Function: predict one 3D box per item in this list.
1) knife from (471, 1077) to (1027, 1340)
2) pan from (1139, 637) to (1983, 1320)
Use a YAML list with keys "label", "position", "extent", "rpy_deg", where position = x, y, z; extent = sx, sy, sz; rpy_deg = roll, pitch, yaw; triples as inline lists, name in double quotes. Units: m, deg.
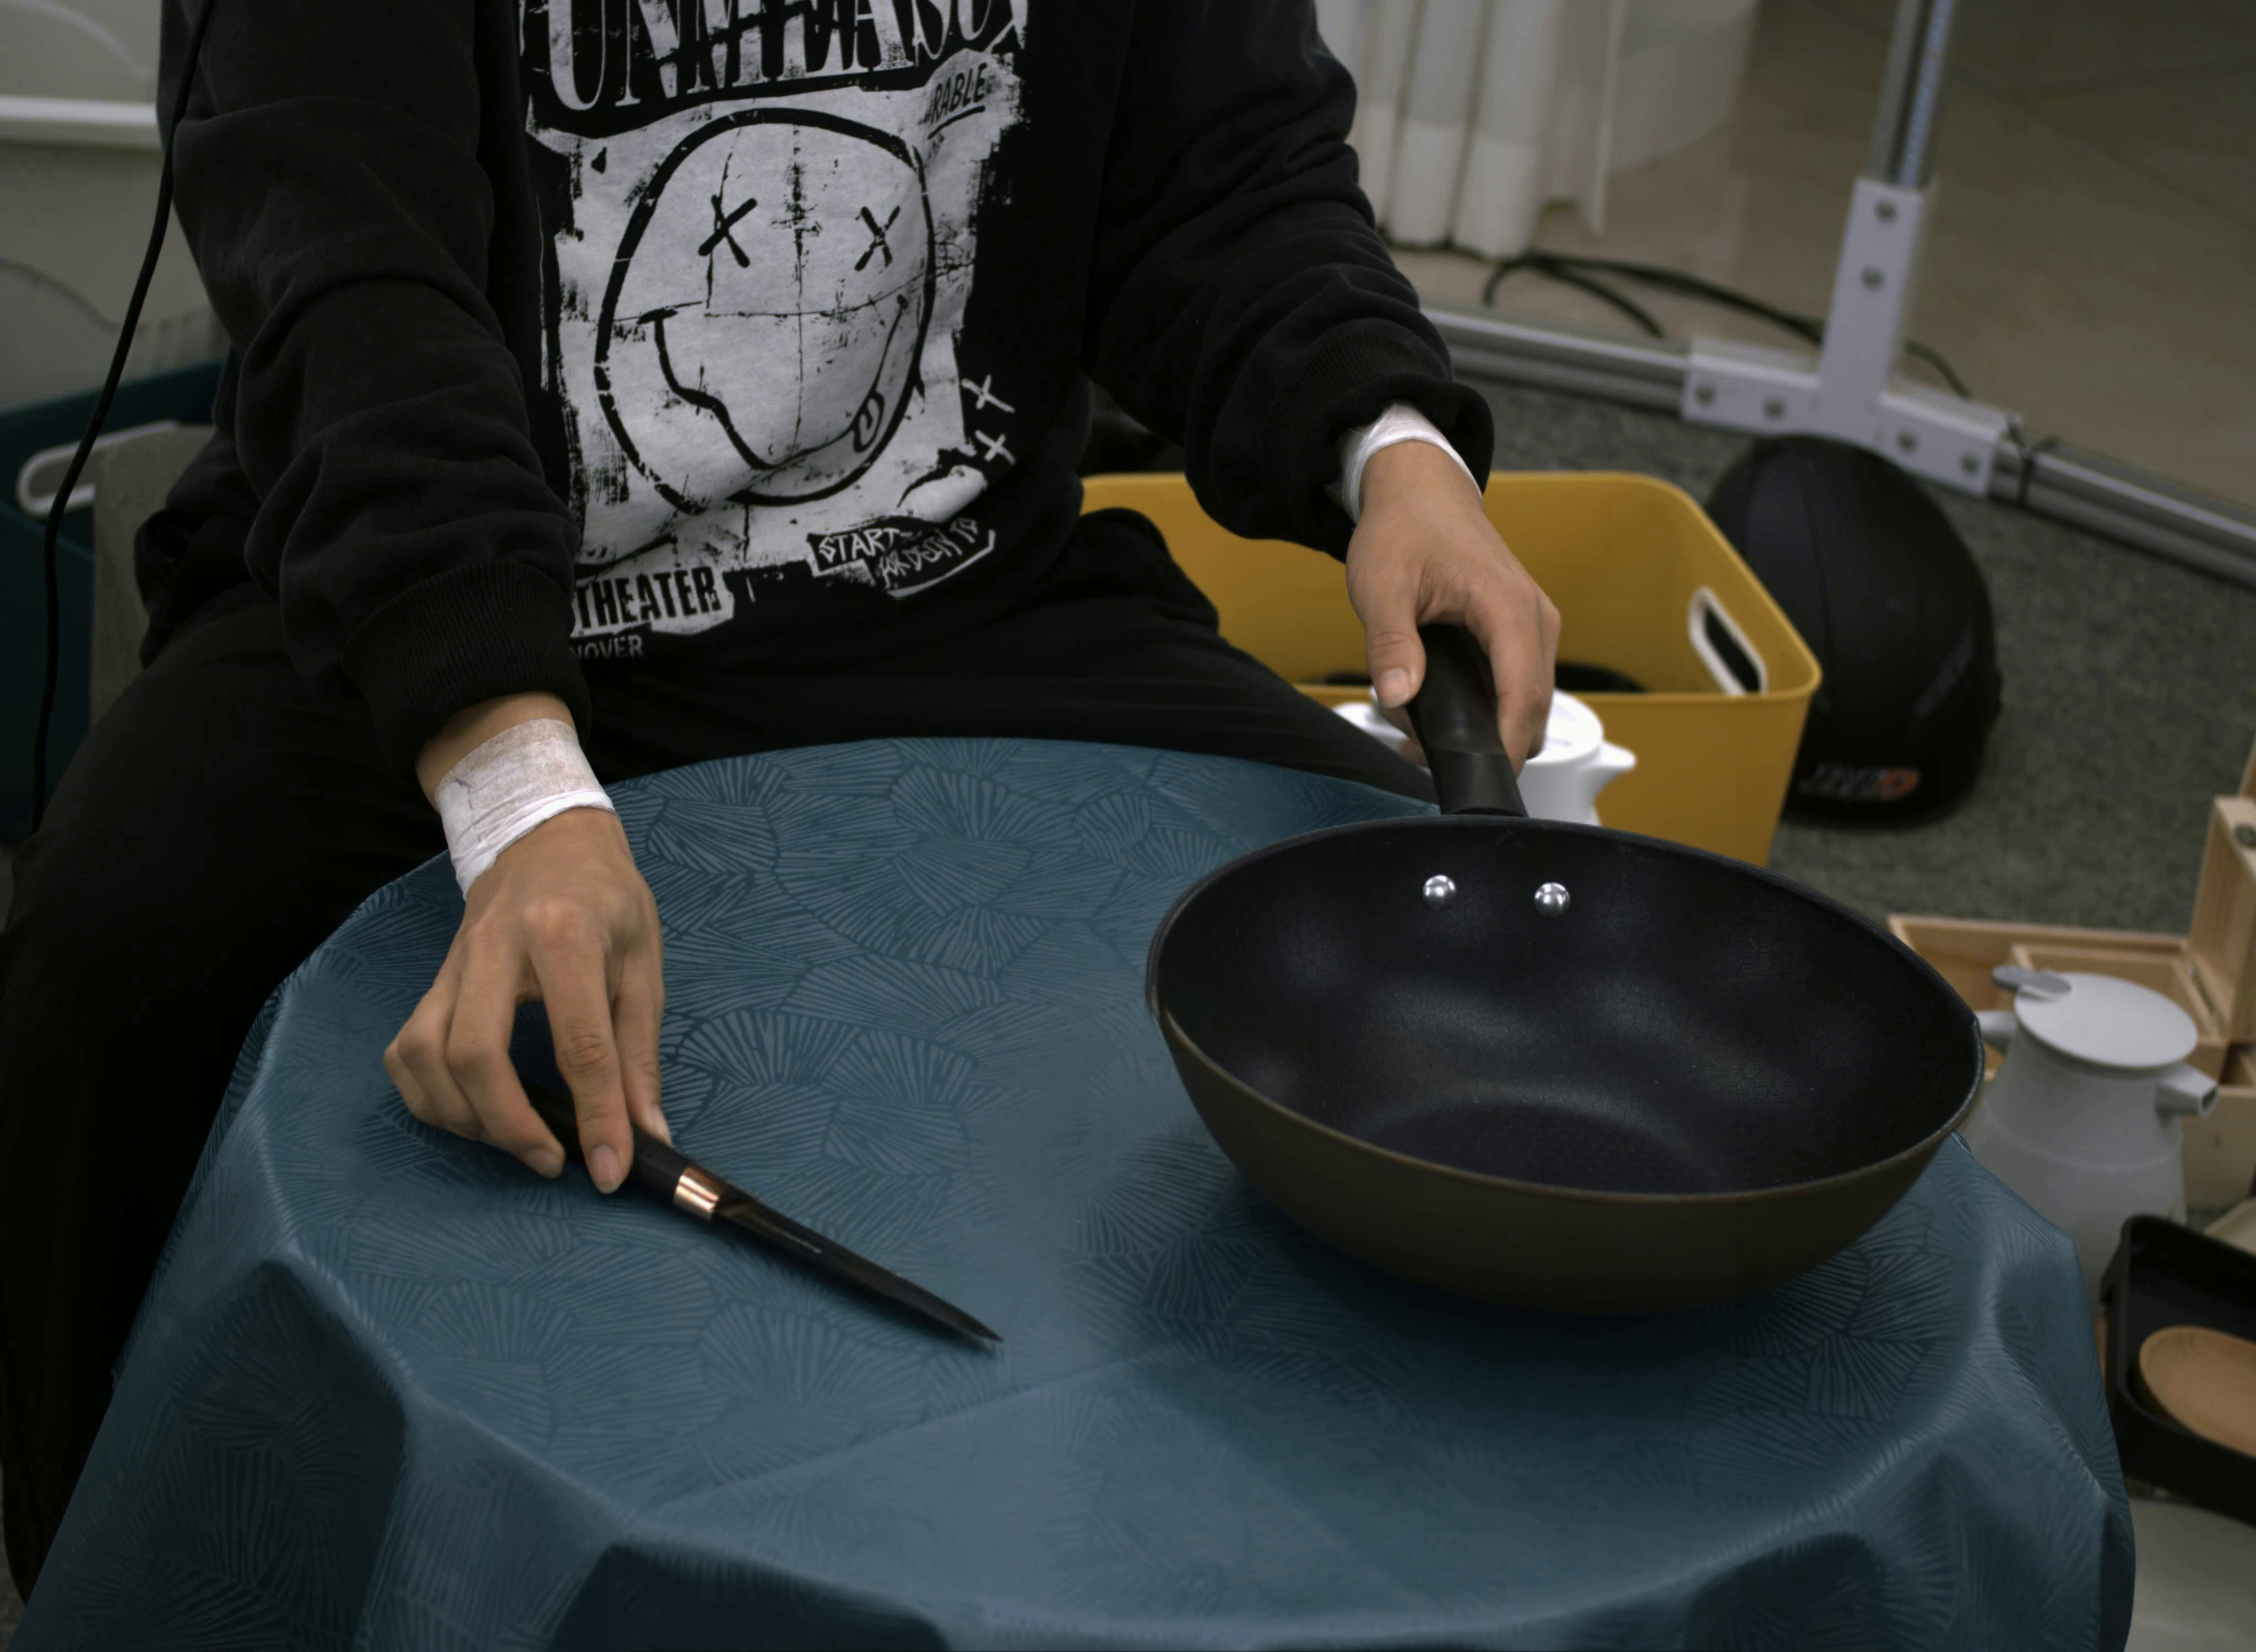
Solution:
- label: "knife"
  position: [-0.128, 0.127, 1.759]
  extent: [0.227, 0.017, 0.026]
  rpy_deg: [22, 7, 29]
- label: "pan"
  position: [0.133, 0.055, 1.885]
  extent: [0.287, 0.086, 0.466]
  rpy_deg: [3, 24, -7]
